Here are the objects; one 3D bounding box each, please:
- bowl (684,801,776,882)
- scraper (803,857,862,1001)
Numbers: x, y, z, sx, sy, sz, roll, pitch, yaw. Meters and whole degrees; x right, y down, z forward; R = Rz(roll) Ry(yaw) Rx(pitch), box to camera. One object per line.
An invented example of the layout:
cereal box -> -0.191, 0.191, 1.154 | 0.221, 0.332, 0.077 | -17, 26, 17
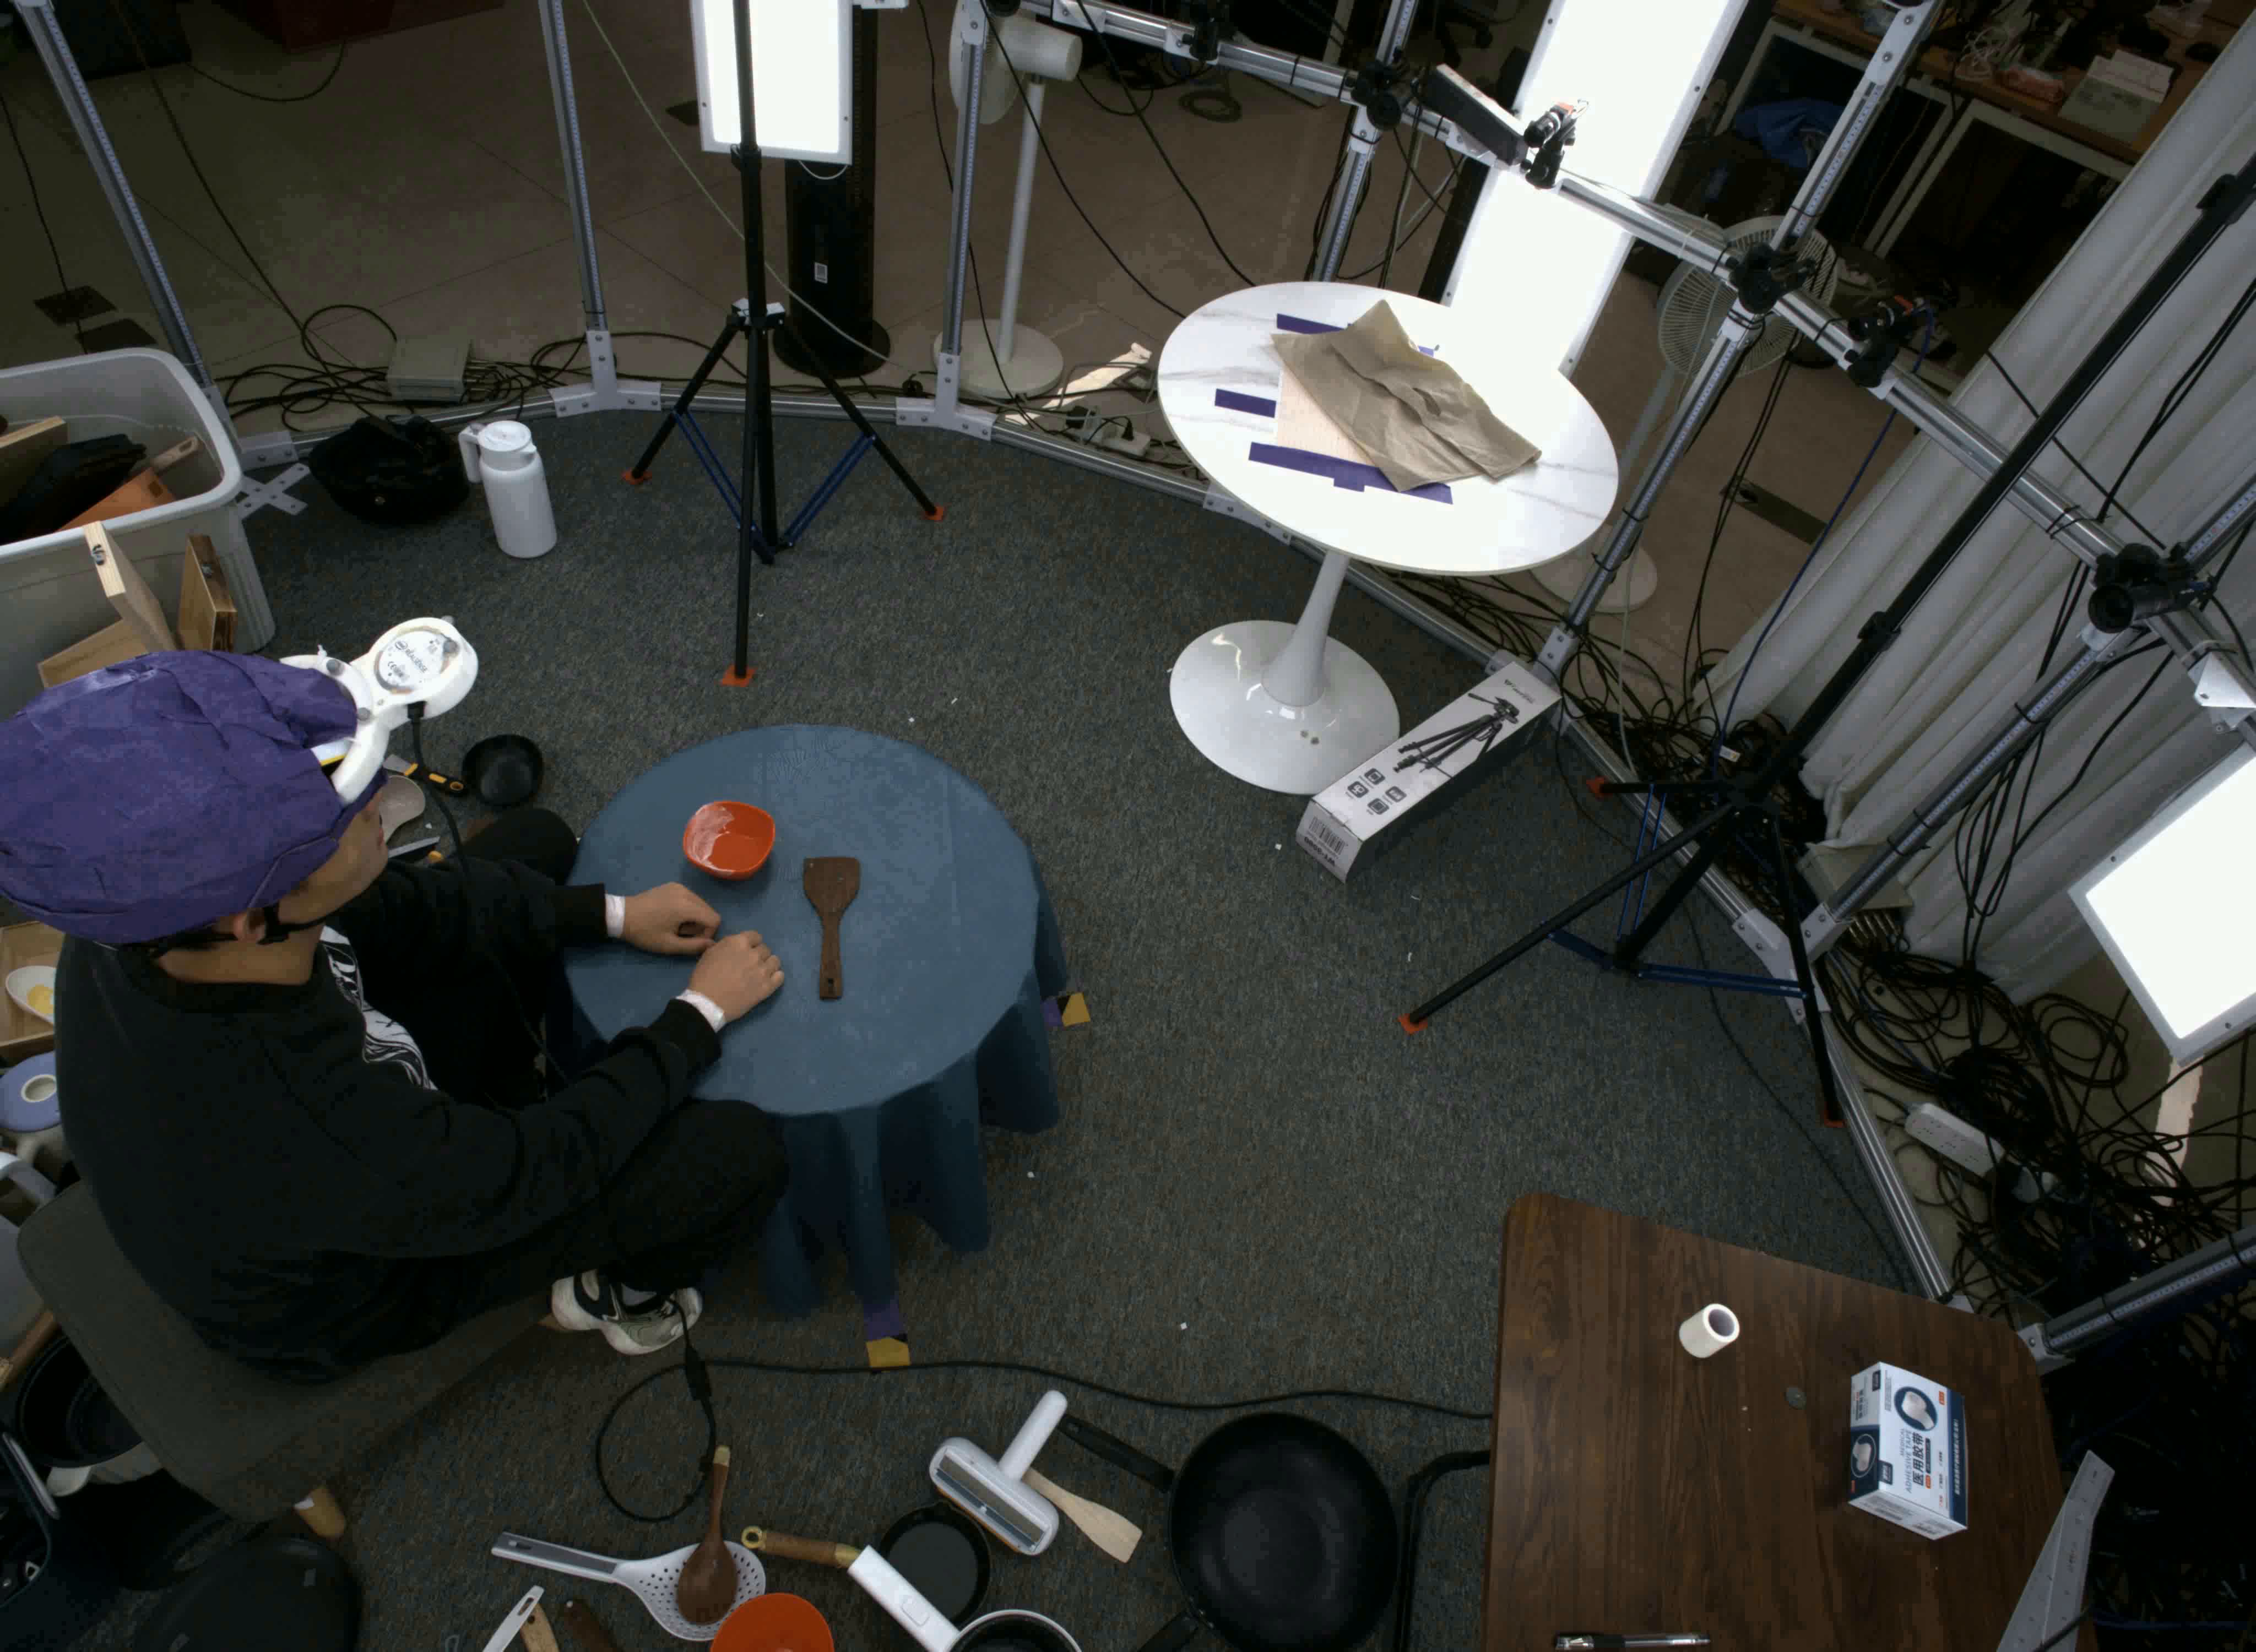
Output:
bowl -> -0.509, 0.026, 1.655 | 0.119, 0.052, 0.117 | 9, 51, -10
scraper -> -0.375, 0.126, 1.643 | 0.076, 0.011, 0.207 | 0, 55, -13
